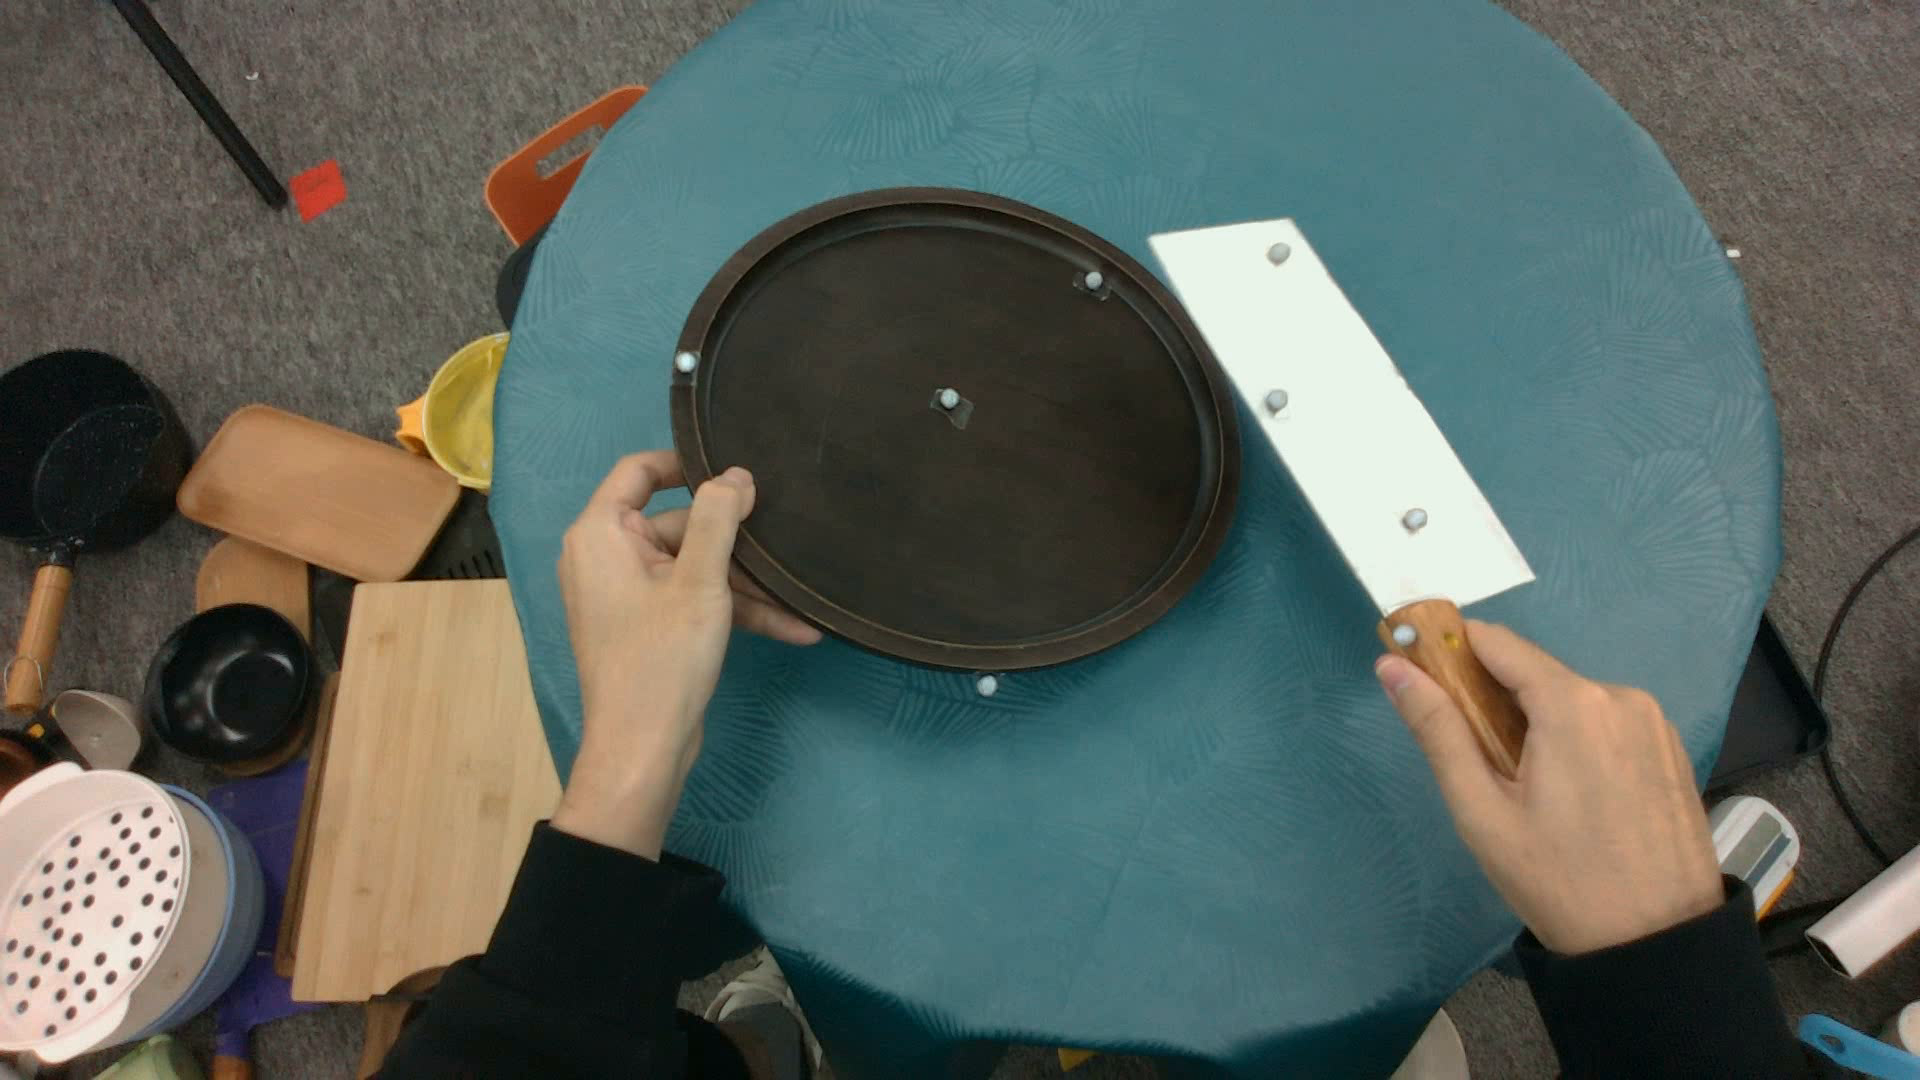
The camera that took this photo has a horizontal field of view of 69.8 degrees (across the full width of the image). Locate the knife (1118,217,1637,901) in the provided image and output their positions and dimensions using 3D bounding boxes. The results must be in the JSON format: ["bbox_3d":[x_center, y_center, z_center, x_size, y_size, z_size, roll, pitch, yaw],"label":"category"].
[{"bbox_3d":[0.170,-0.011,0.539,0.093,0.021,0.306,-17,67,-34],"label":"knife"}]

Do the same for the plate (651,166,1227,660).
[{"bbox_3d":[-0.005,-0.063,0.602,0.255,0.029,0.256,5,60,-9],"label":"plate"}]
